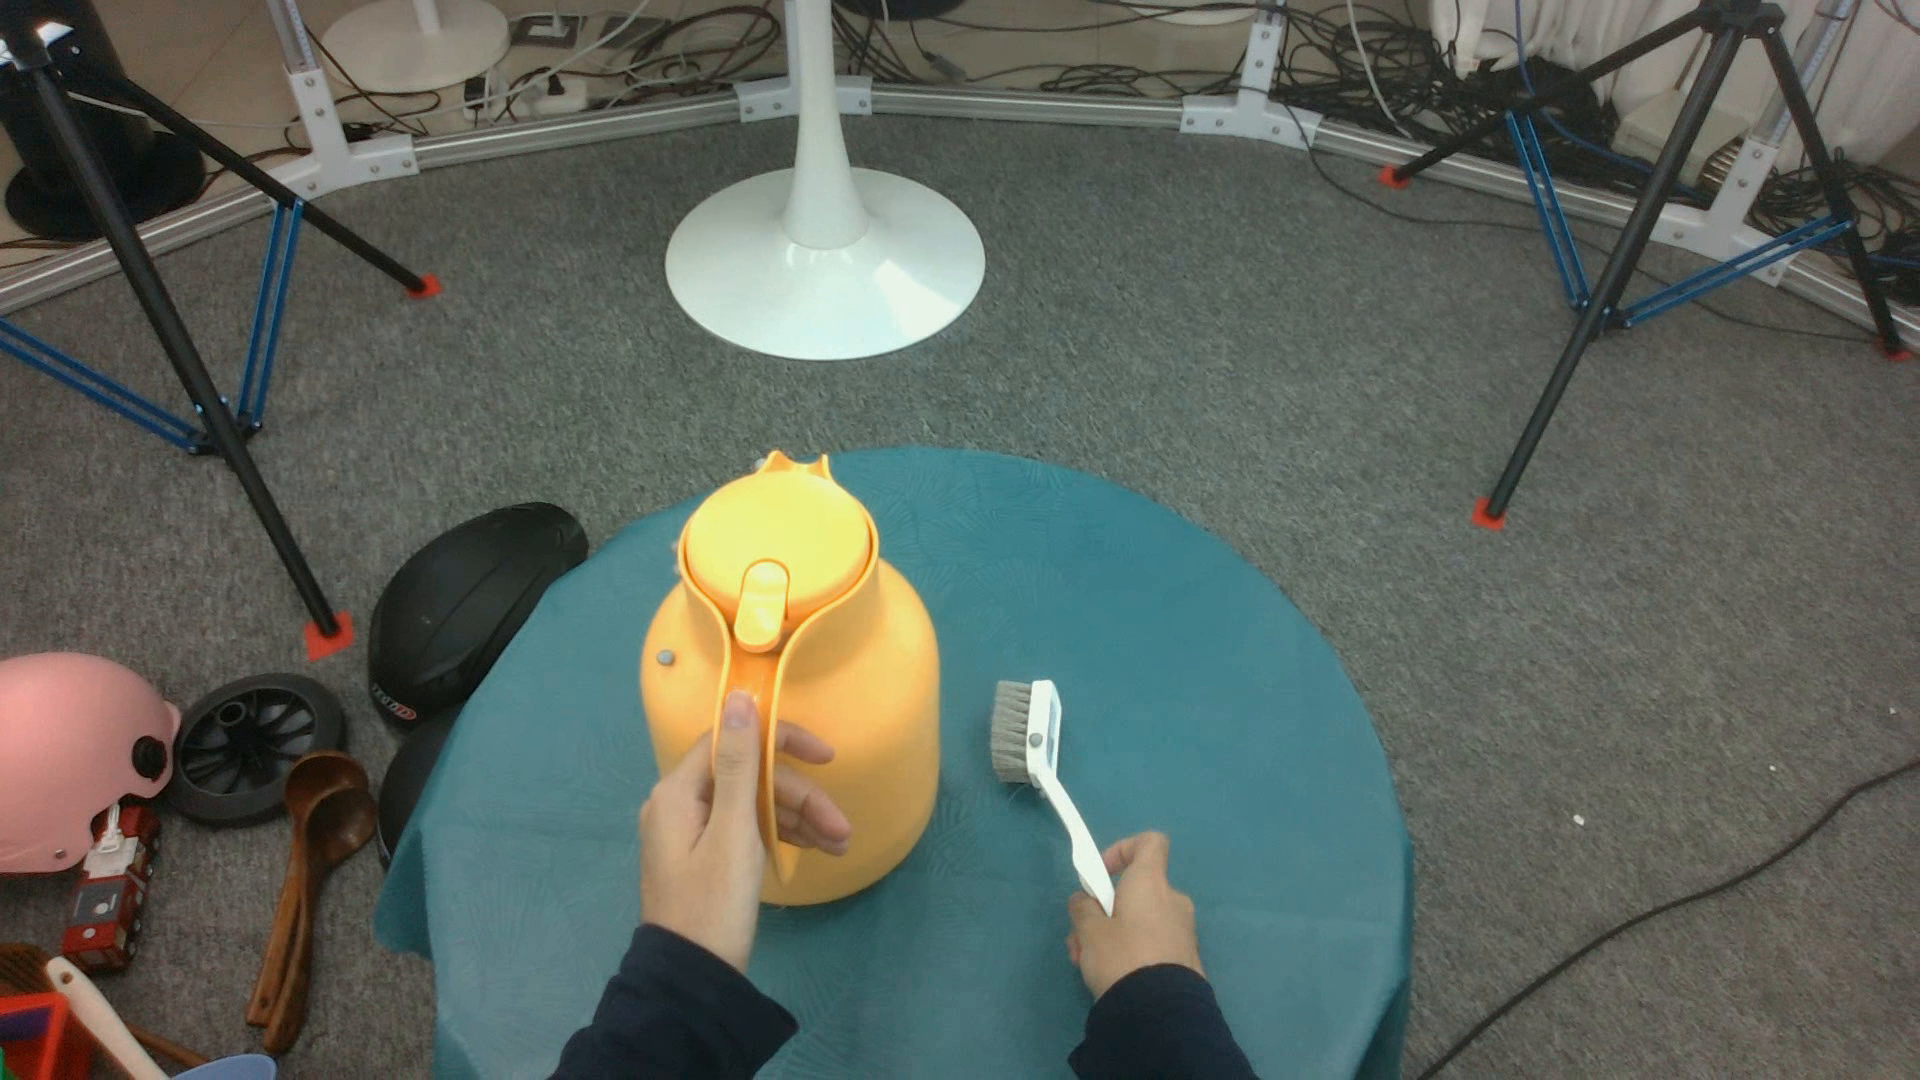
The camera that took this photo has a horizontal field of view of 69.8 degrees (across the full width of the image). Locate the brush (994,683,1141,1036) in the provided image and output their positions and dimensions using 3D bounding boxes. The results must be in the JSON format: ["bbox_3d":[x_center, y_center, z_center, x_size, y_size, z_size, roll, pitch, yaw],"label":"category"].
[{"bbox_3d":[0.057,0.182,0.816,0.050,0.034,0.244,-12,45,0],"label":"brush"}]

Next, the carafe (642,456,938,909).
[{"bbox_3d":[-0.097,0.095,0.754,0.163,0.259,0.203,3,47,4],"label":"carafe"}]
